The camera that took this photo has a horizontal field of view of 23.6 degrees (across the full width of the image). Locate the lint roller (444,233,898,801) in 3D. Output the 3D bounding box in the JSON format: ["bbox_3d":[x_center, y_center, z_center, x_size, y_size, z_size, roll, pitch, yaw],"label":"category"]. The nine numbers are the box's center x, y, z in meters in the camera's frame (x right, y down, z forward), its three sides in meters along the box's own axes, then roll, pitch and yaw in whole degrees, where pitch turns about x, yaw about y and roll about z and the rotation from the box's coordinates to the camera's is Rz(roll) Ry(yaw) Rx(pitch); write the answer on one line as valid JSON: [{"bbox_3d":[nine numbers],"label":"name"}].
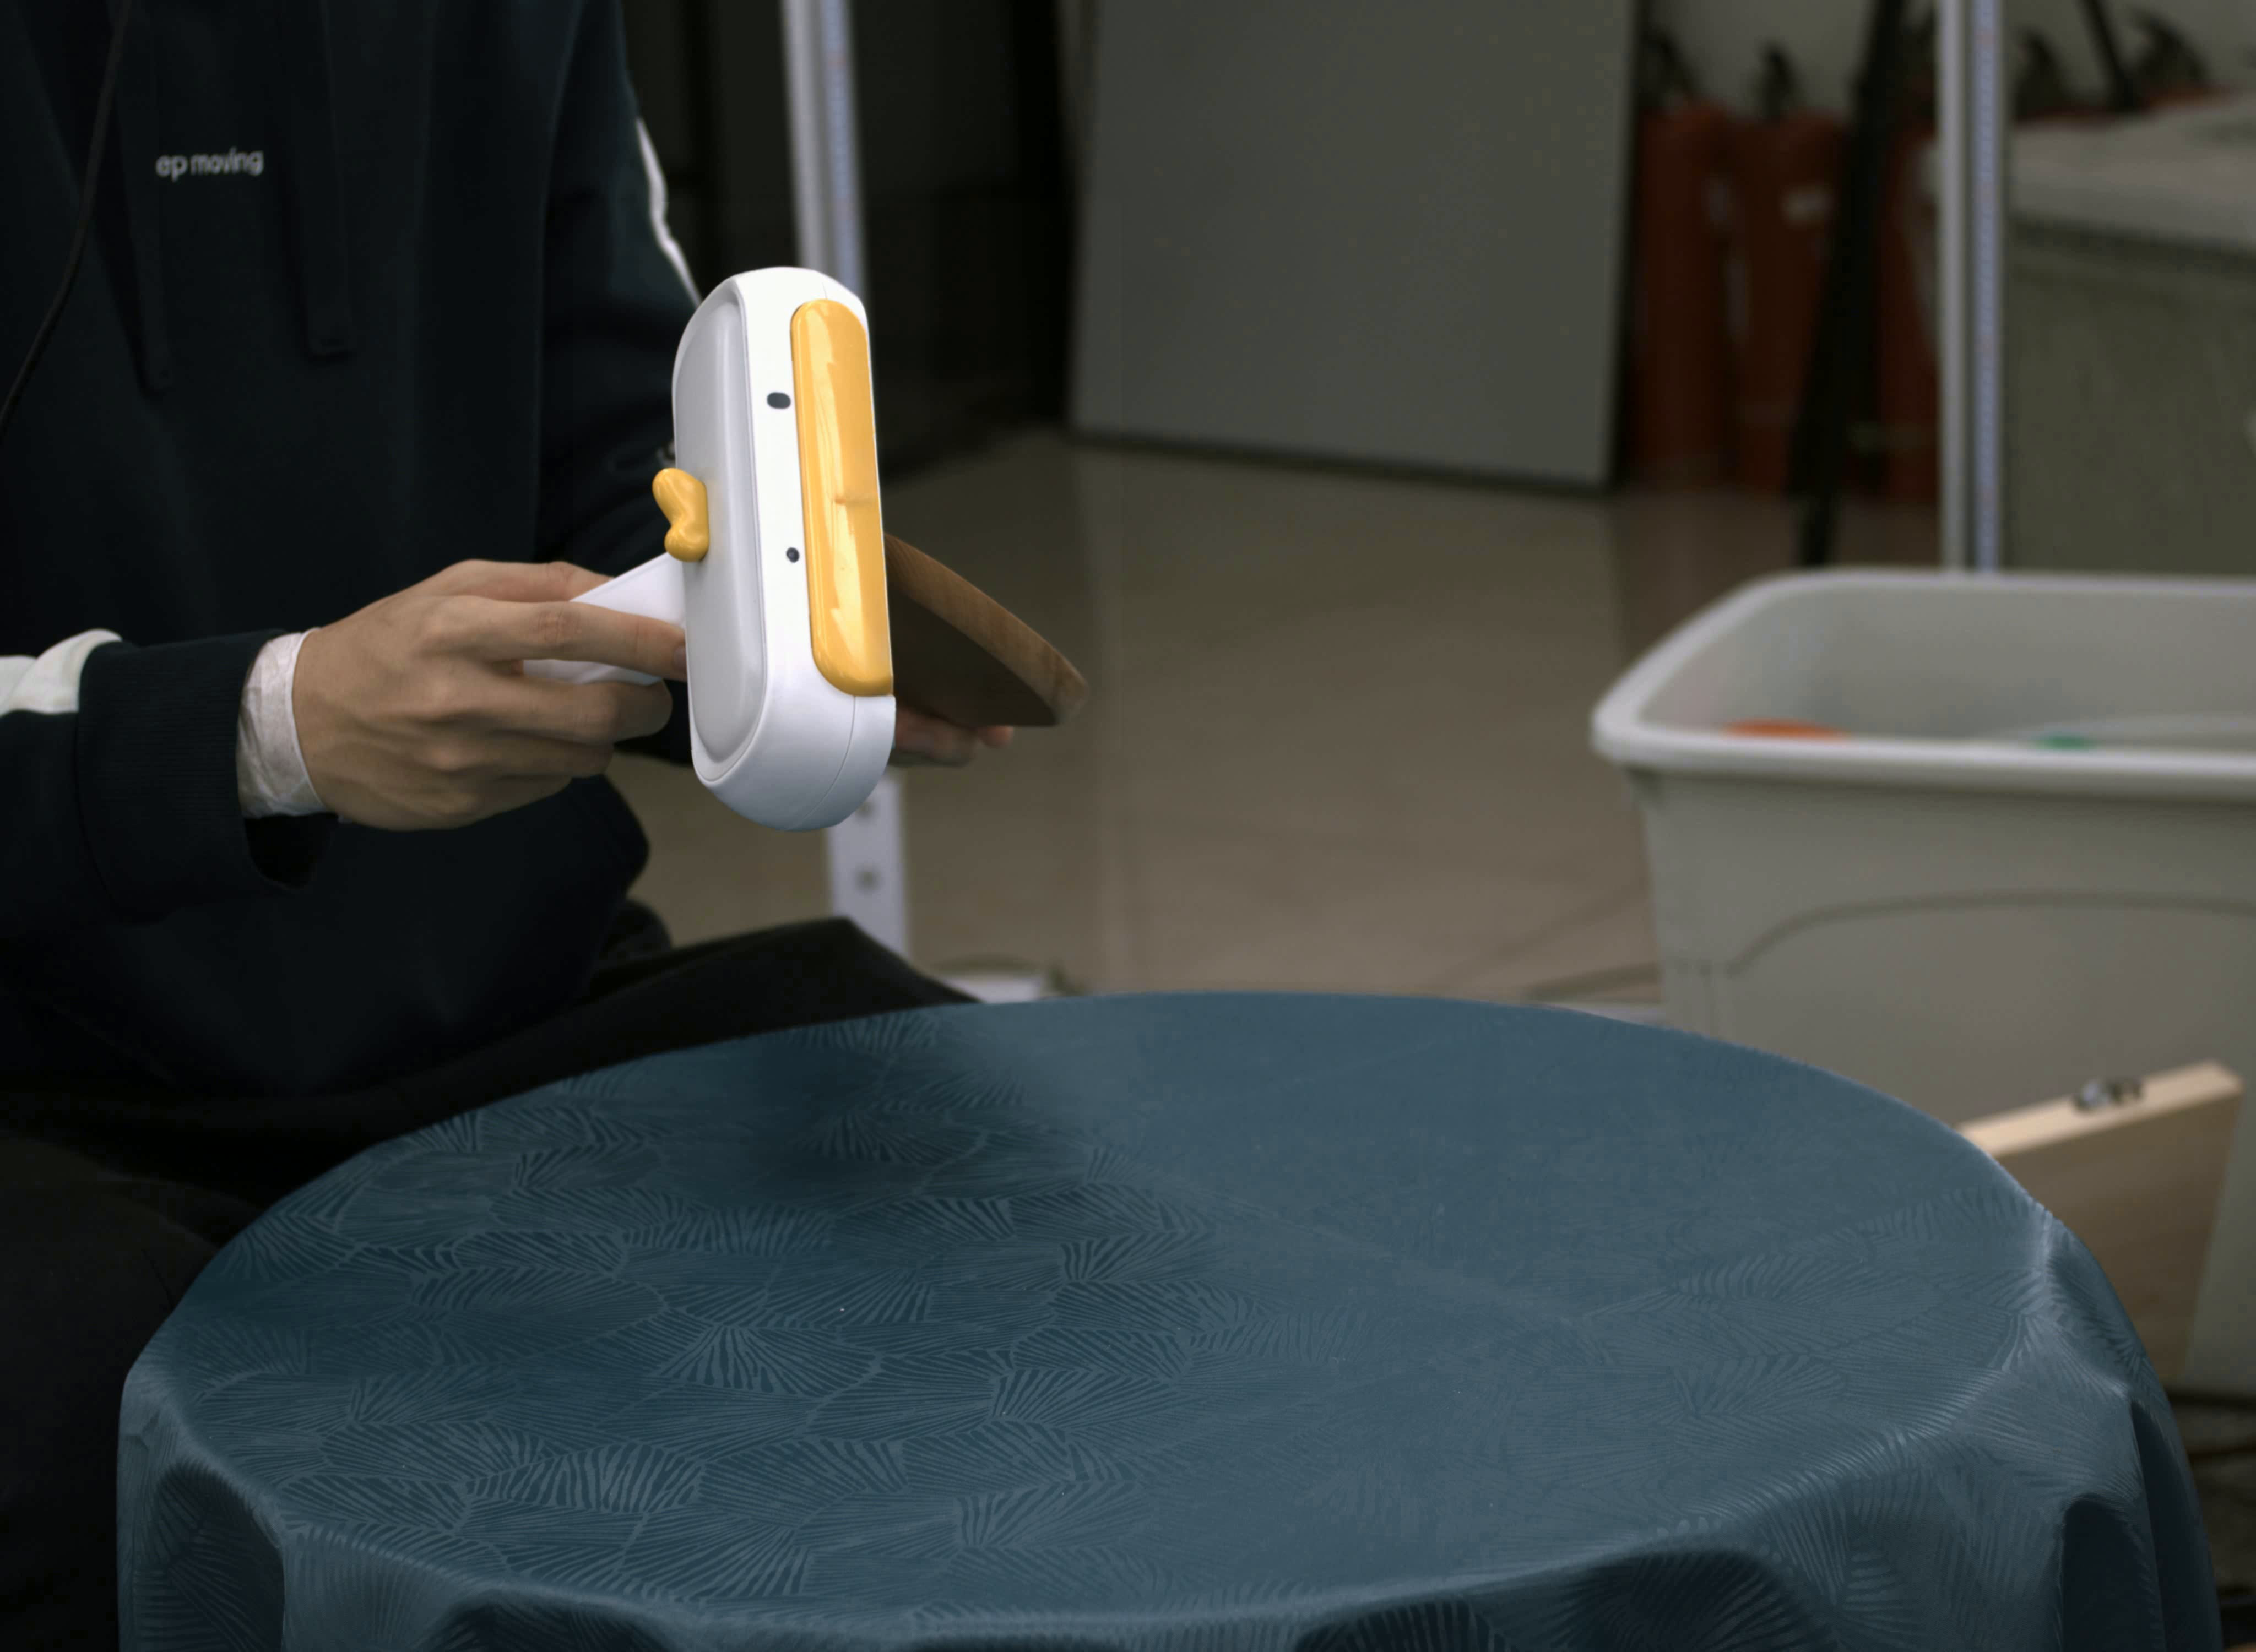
[{"bbox_3d":[-0.149,-0.070,1.737,0.072,0.195,0.194,12,-37,-36],"label":"lint roller"}]

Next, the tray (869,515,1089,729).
[{"bbox_3d":[-0.080,-0.067,1.827,0.100,0.020,0.233,37,-10,-16],"label":"tray"}]
